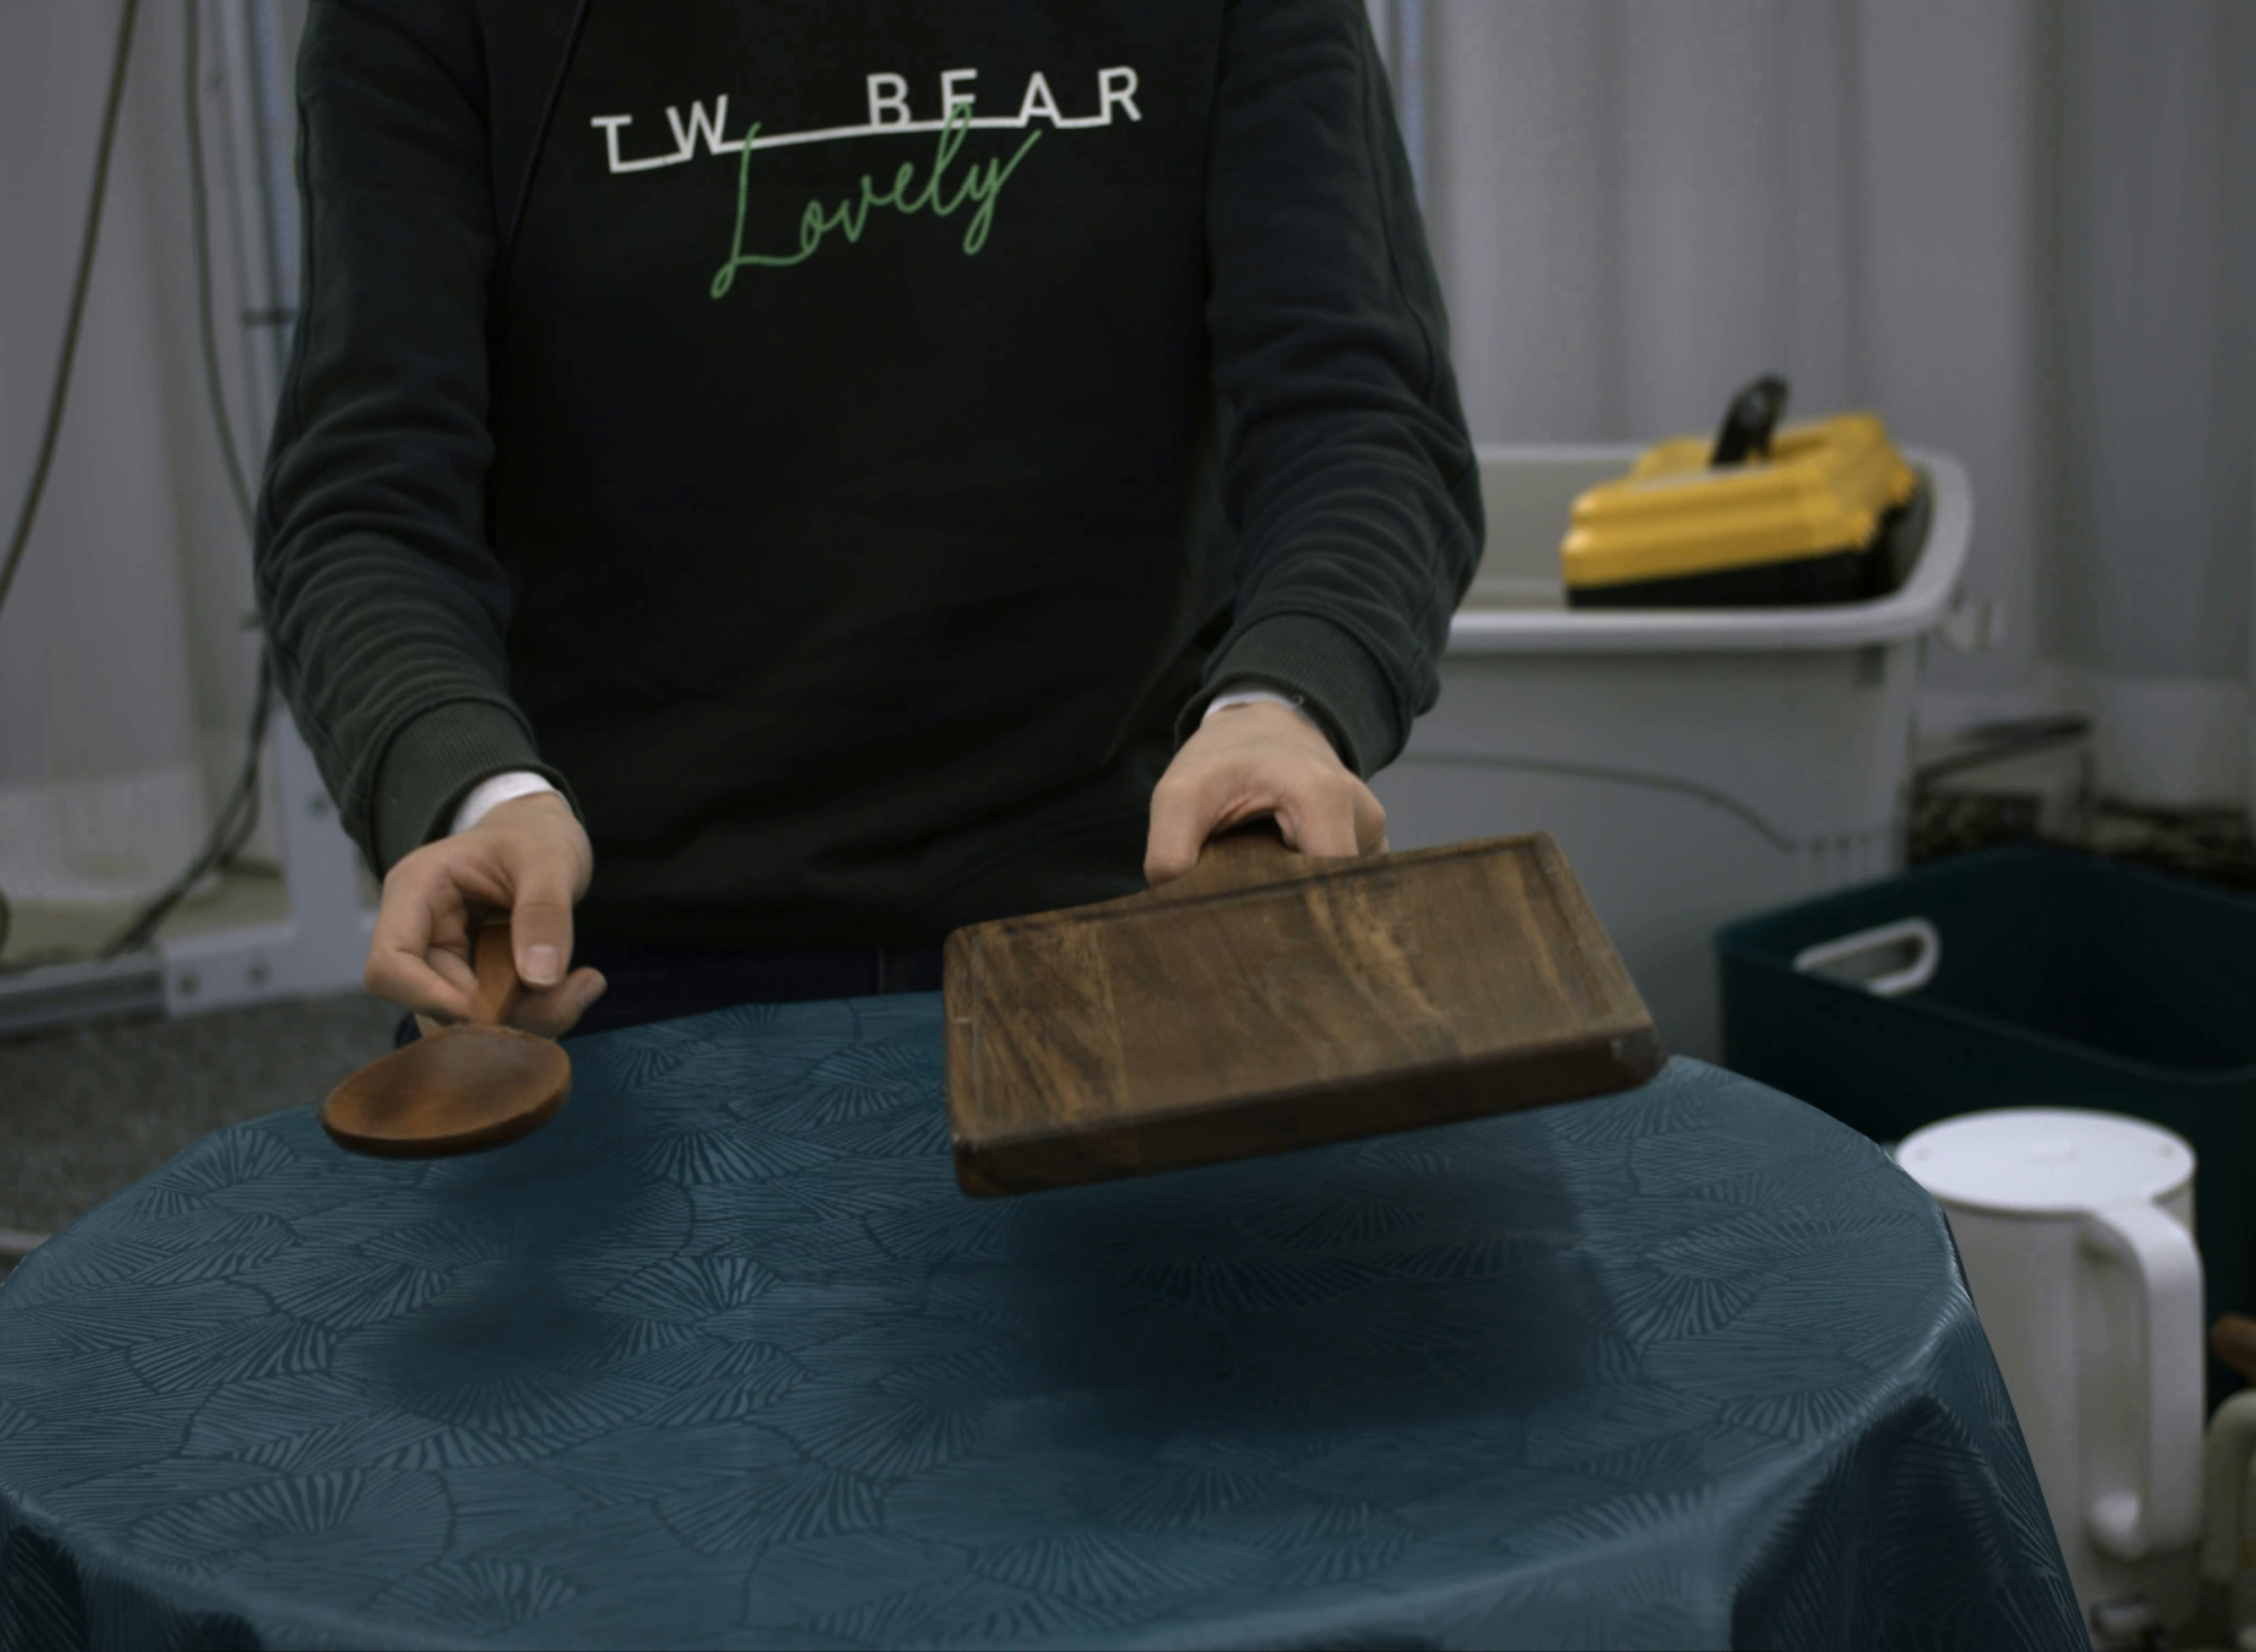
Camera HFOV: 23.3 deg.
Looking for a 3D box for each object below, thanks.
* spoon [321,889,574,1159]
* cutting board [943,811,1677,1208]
[{"bbox_3d":[-0.198,0.061,1.674,0.075,0.017,0.217,-8,18,4],"label":"spoon"},{"bbox_3d":[0.044,0.041,1.650,0.200,0.023,0.354,-11,12,0],"label":"cutting board"}]
